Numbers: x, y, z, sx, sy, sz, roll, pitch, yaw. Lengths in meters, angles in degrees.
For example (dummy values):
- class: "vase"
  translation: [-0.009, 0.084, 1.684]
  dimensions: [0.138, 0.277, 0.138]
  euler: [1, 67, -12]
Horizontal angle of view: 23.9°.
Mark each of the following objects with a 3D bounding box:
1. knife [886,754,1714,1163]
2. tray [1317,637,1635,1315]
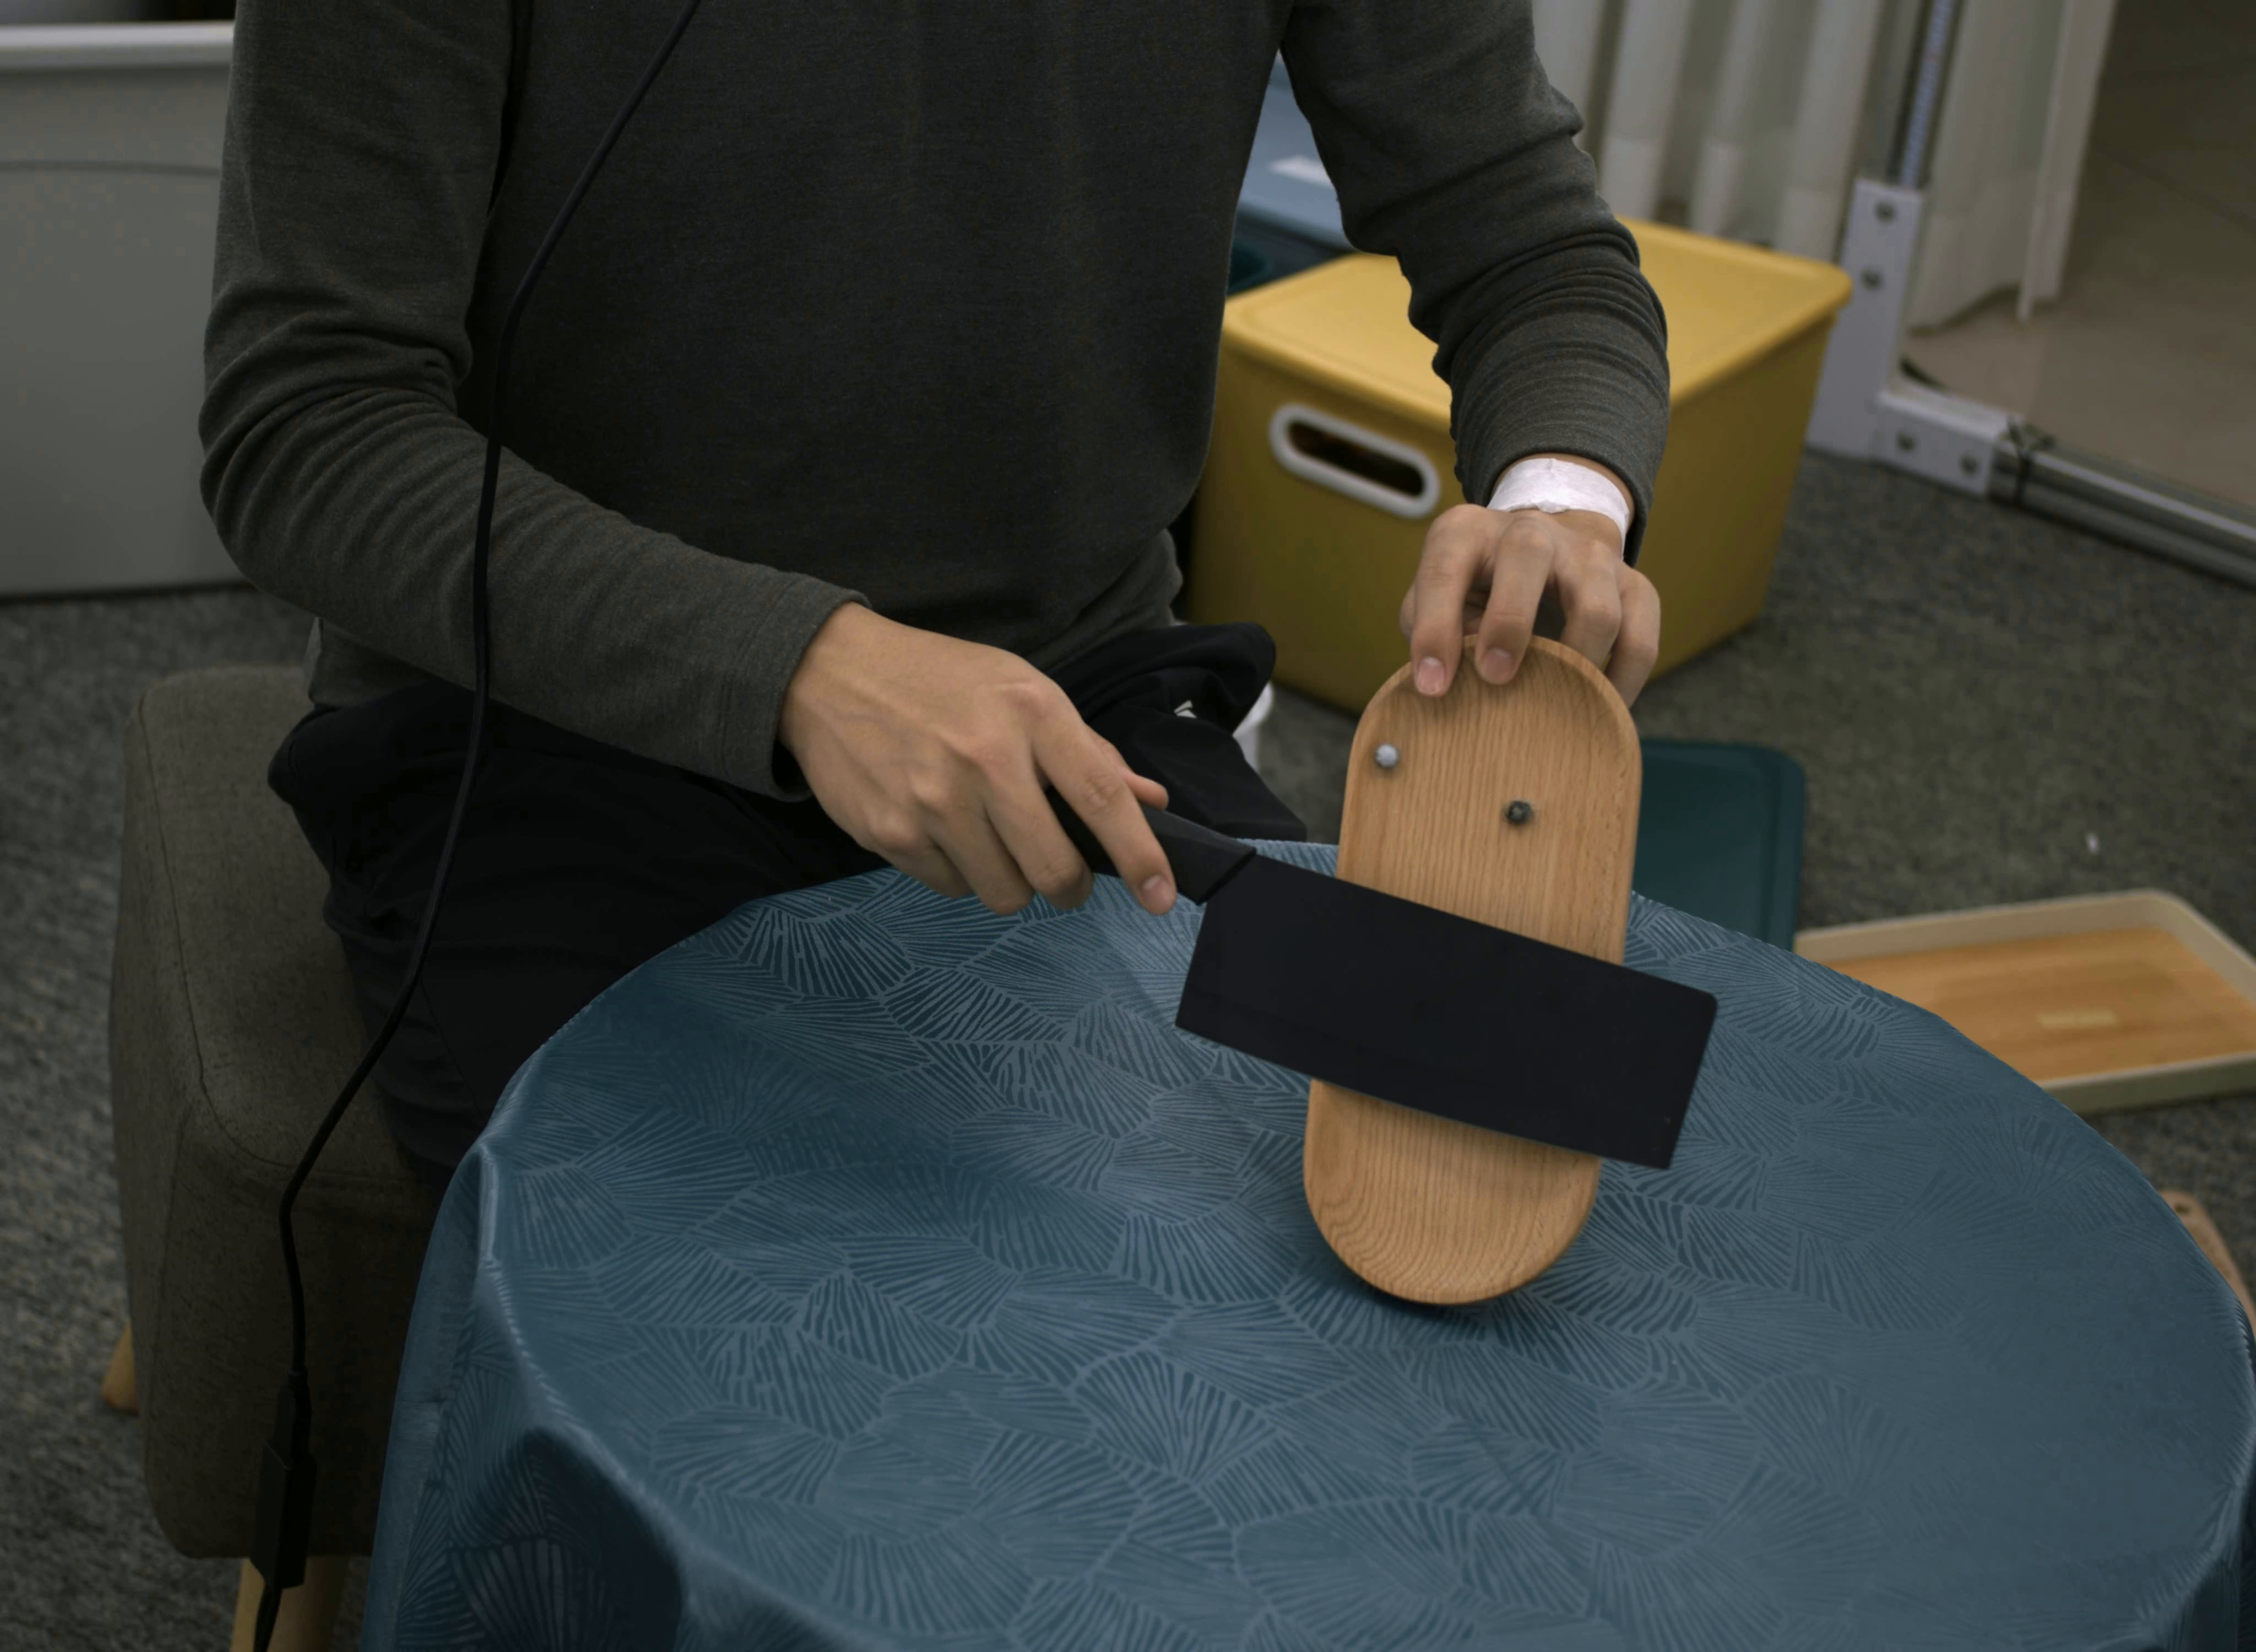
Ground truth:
- class: "knife"
  translation: [0.052, 0.040, 1.785]
  dimensions: [0.303, 0.081, 0.021]
  euler: [22, 4, 22]
- class: "tray"
  translation: [0.117, 0.049, 1.778]
  dimensions: [0.102, 0.232, 0.020]
  euler: [-1, -15, 17]
